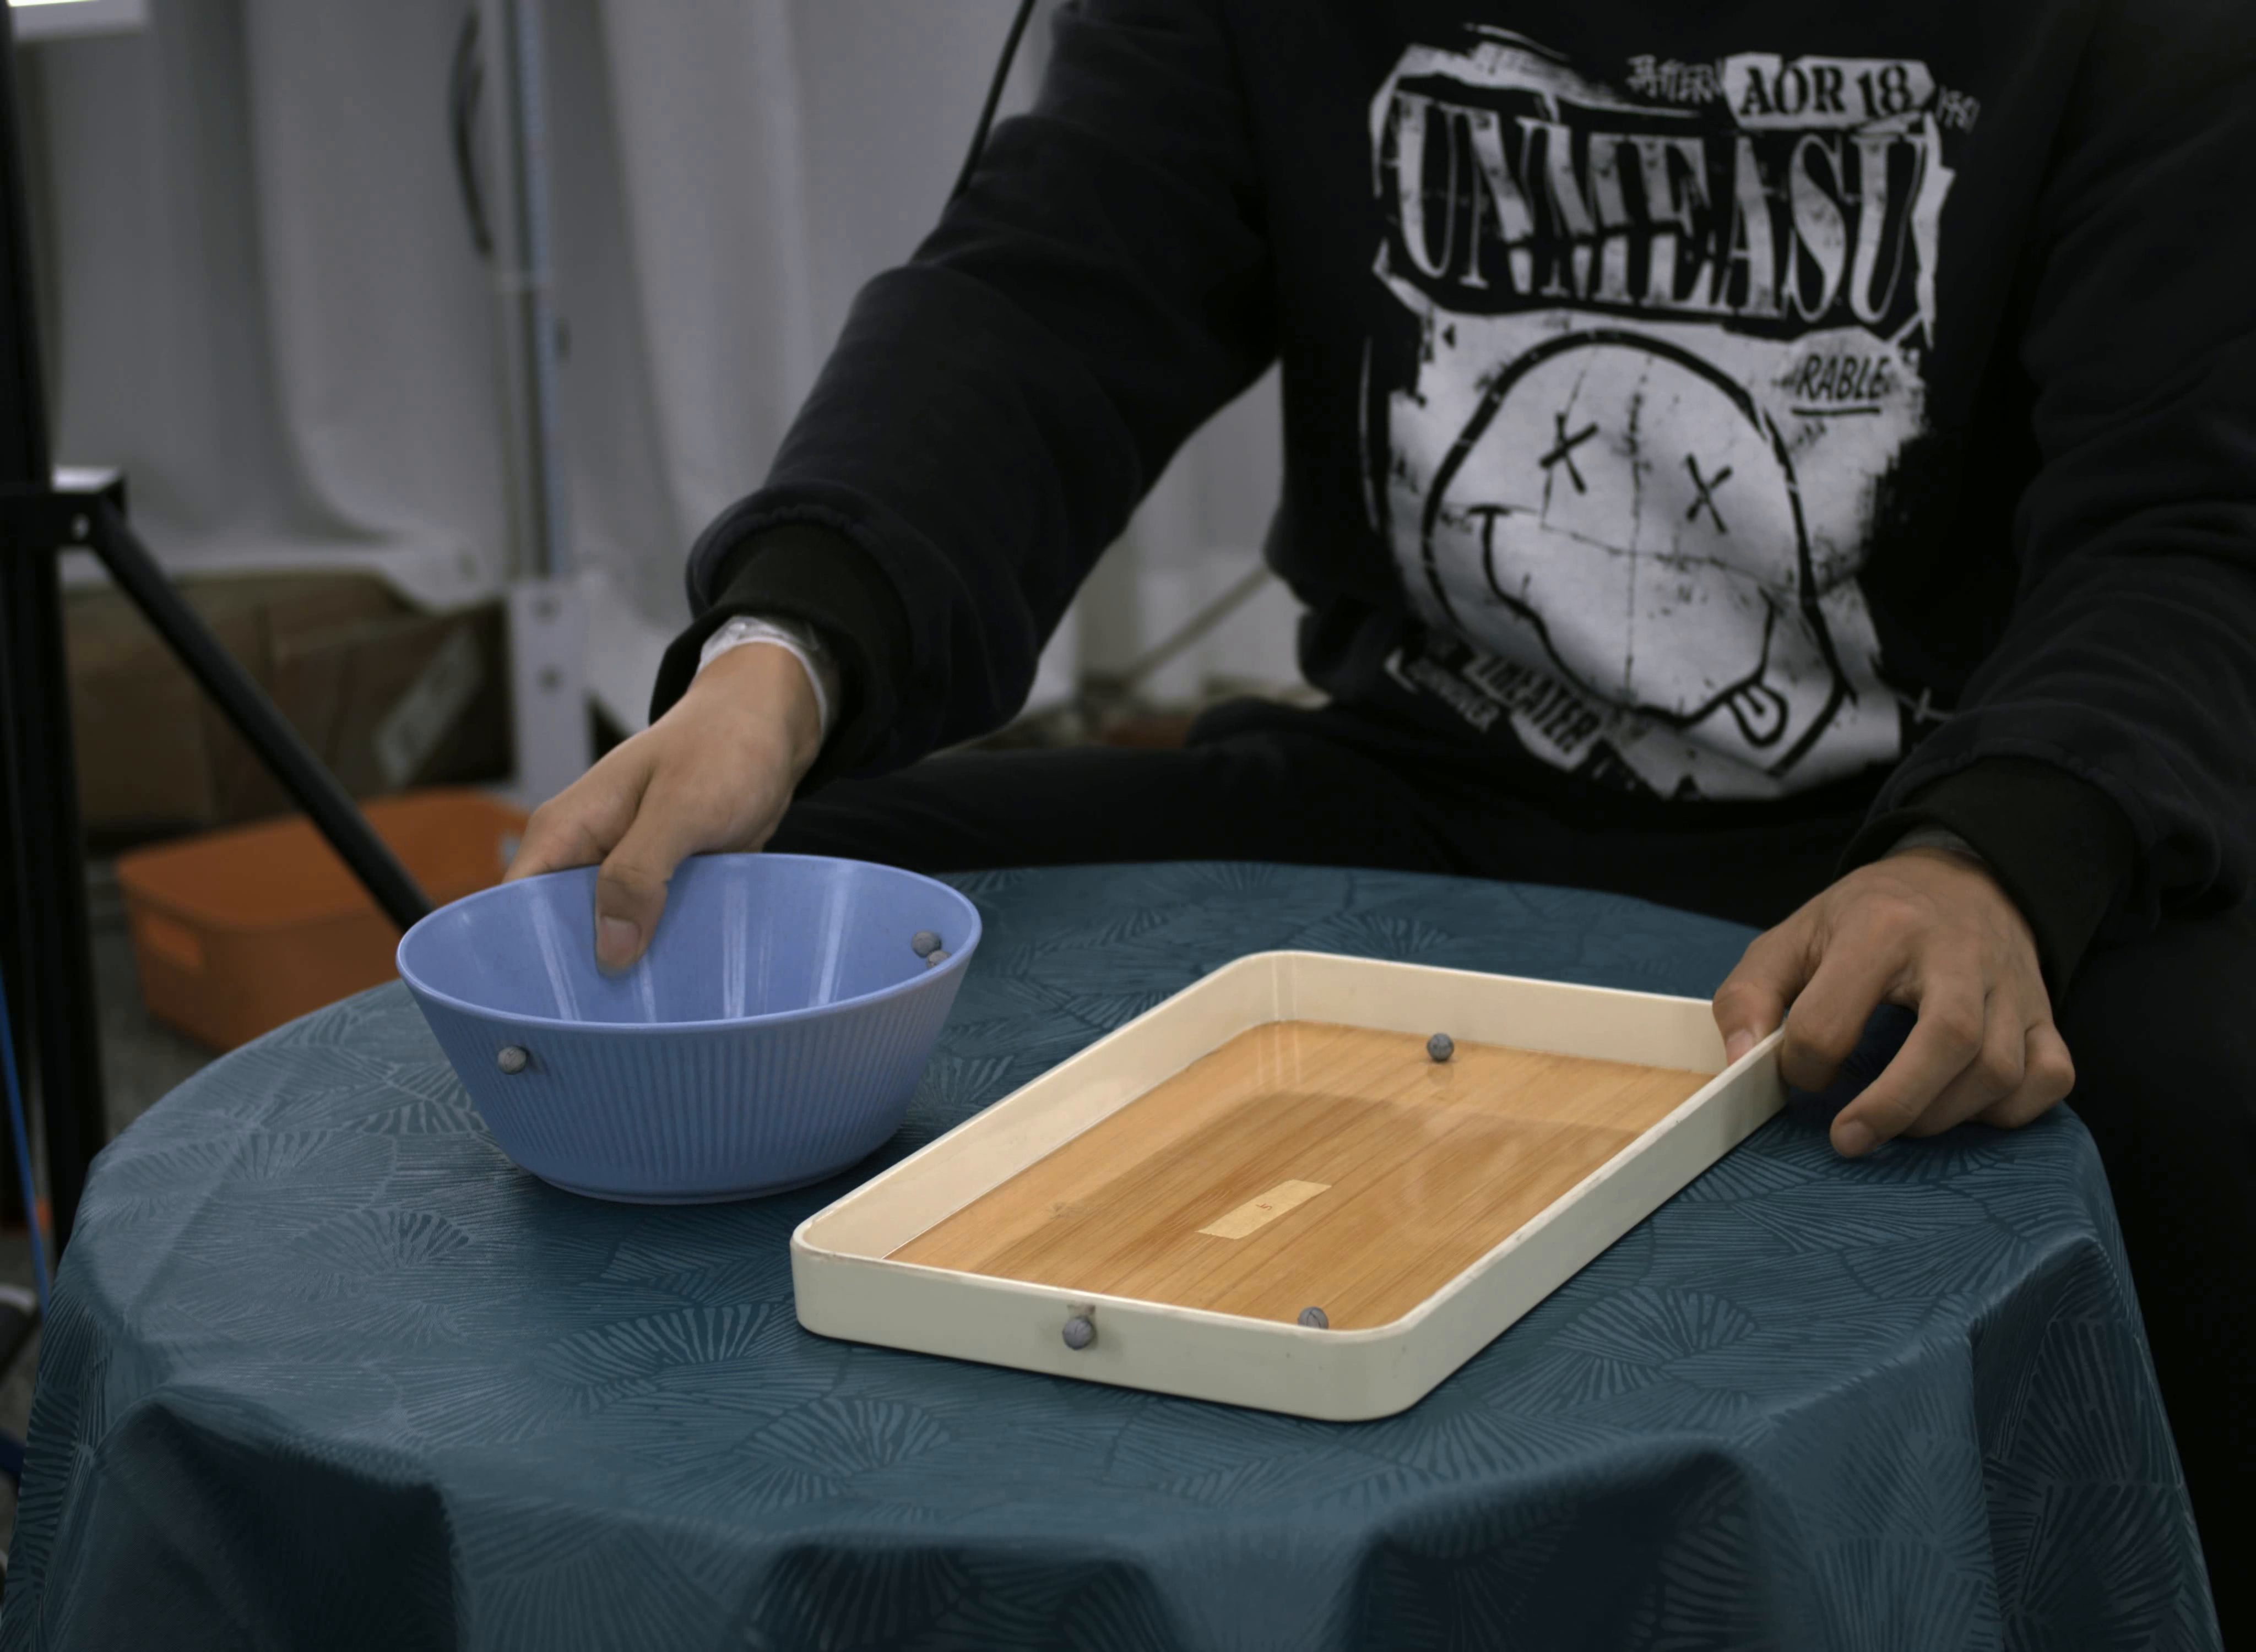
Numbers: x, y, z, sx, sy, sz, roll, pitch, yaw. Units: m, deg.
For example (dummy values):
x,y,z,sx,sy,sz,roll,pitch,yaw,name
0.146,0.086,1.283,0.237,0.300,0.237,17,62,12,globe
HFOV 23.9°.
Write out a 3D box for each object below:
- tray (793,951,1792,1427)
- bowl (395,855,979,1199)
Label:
x,y,z,sx,sy,sz,roll,pitch,yaw,name
0.055,0.099,1.534,0.195,0.027,0.295,6,18,29,tray
-0.132,0.063,1.609,0.175,0.070,0.177,-2,16,-1,bowl
